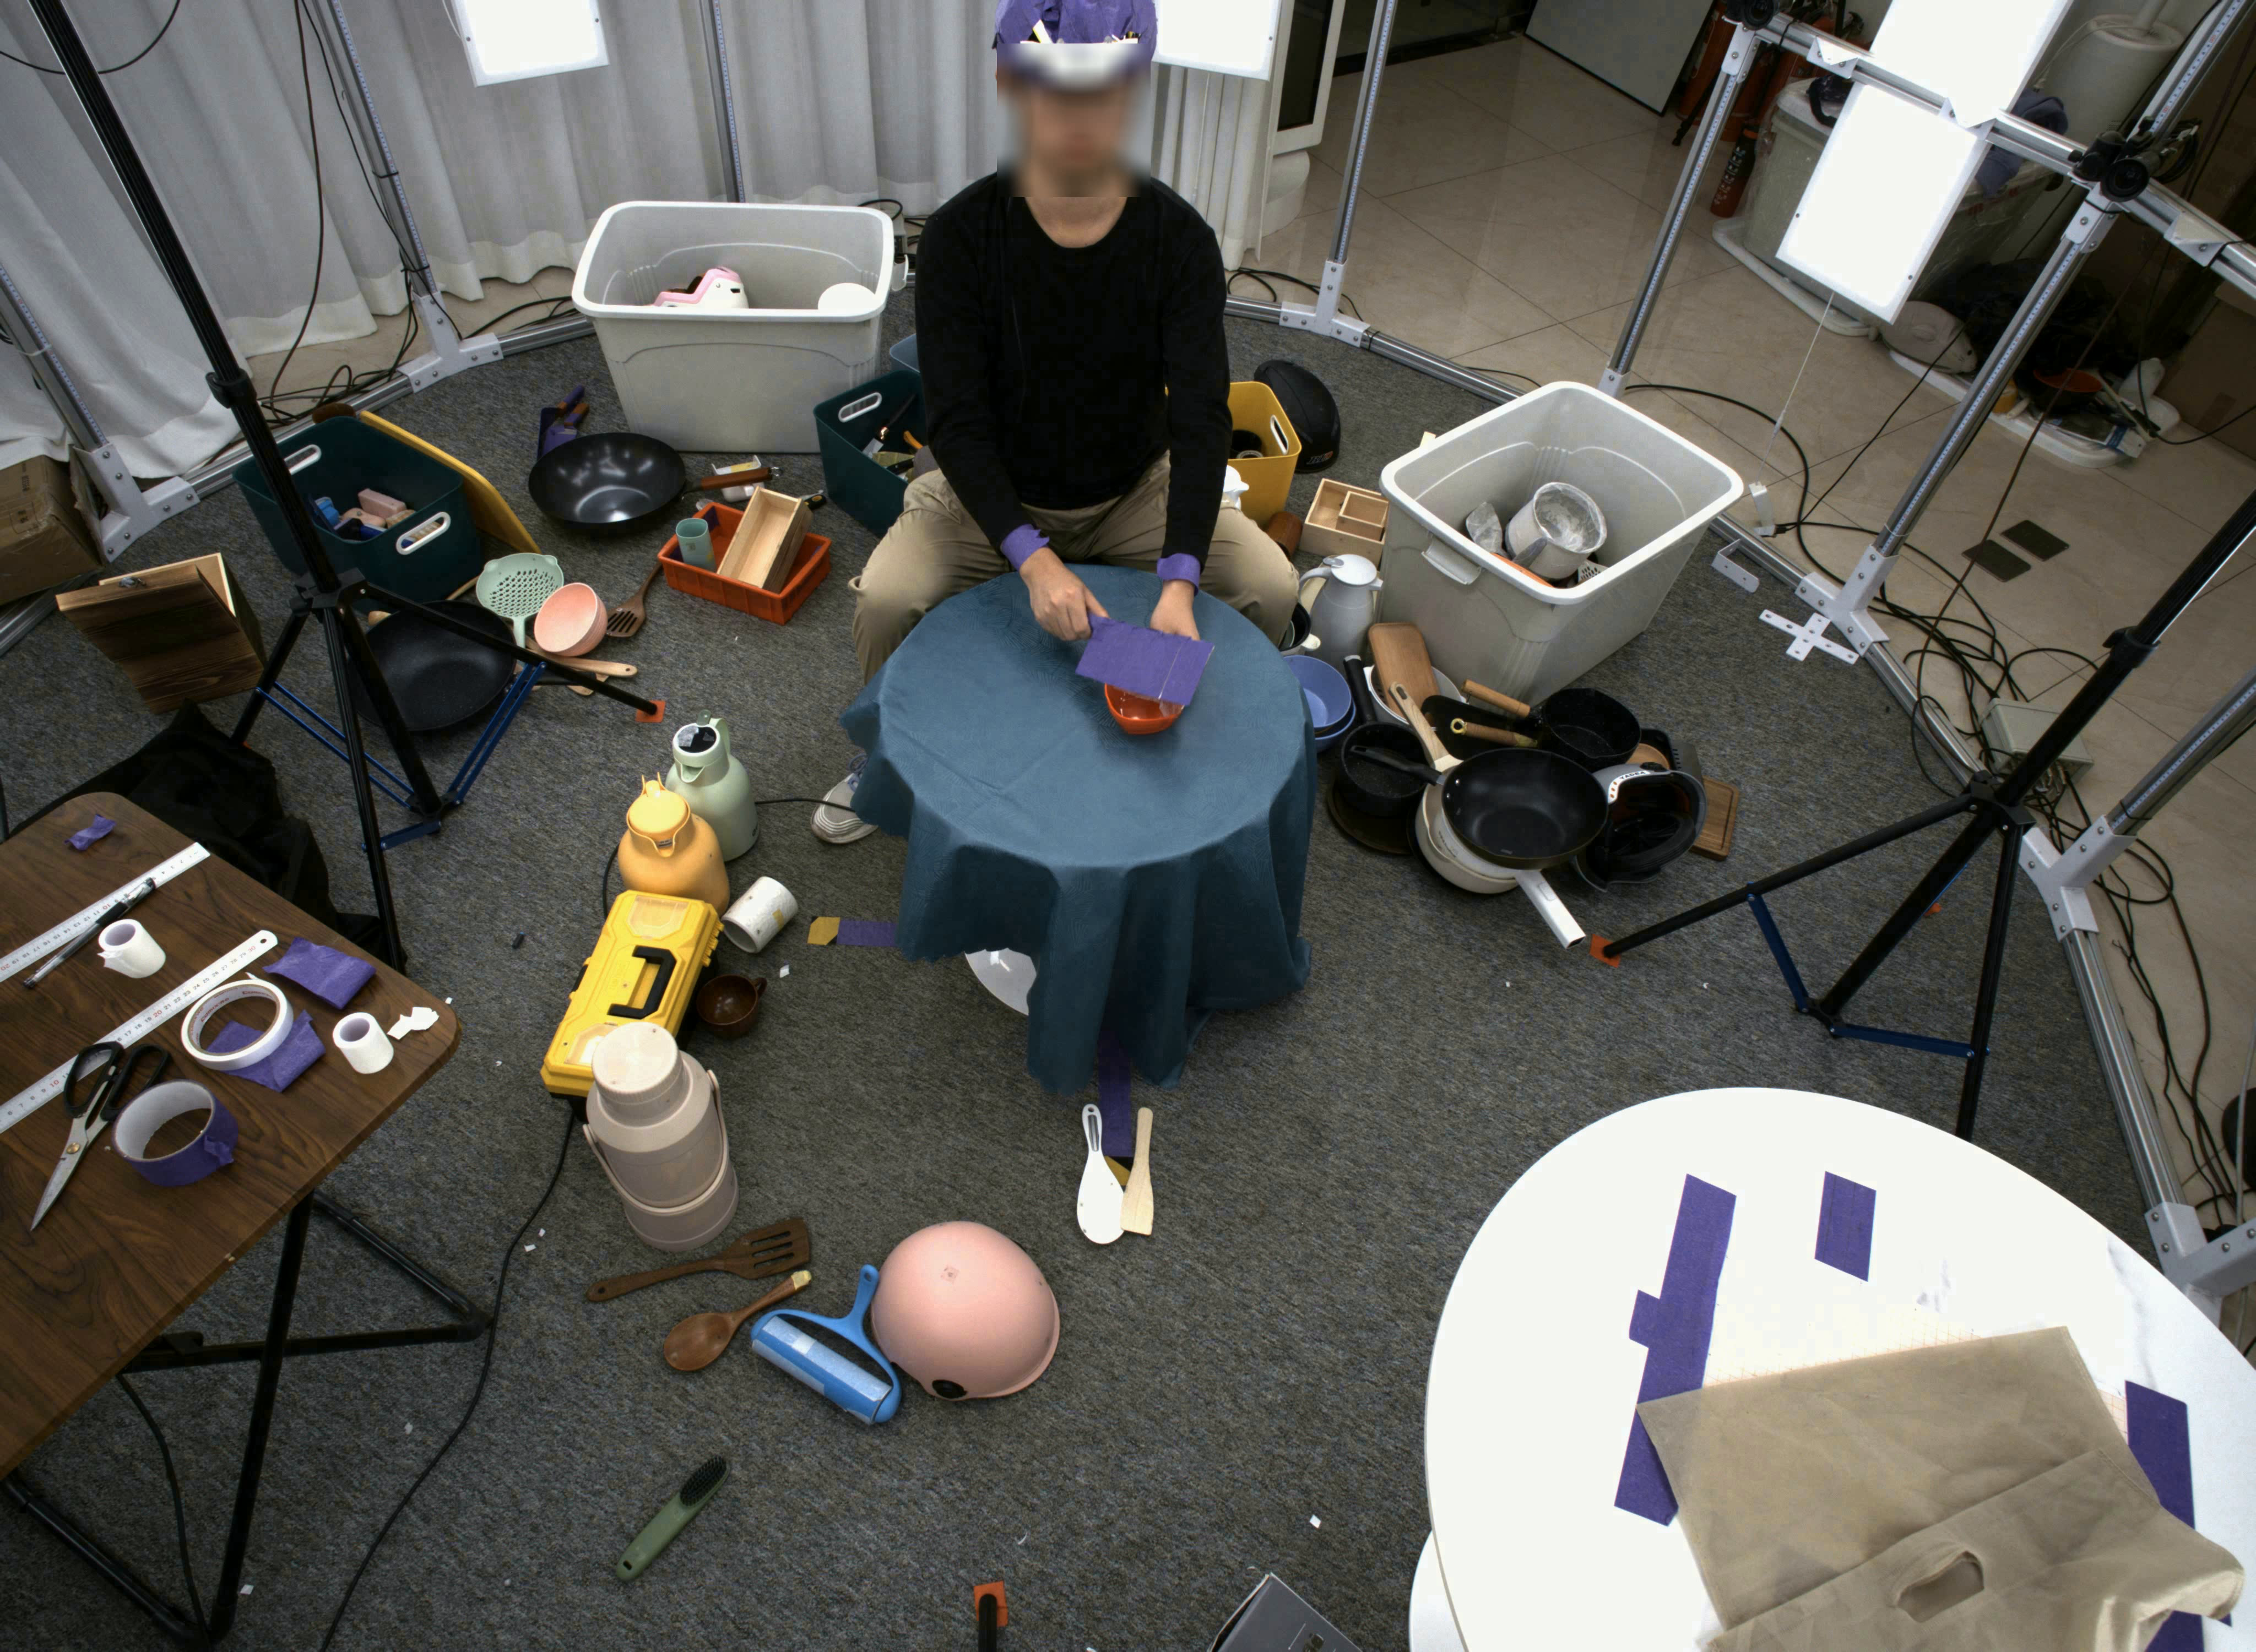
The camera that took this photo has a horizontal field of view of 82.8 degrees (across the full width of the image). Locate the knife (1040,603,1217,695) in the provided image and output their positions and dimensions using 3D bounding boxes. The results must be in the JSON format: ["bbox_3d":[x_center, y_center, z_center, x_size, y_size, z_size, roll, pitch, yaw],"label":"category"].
[{"bbox_3d":[-0.018,-0.247,1.782,0.319,0.031,0.104,19,81,40],"label":"knife"}]

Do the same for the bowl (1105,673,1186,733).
[{"bbox_3d":[0.022,-0.172,1.783,0.119,0.050,0.122,1,52,-2],"label":"bowl"}]
